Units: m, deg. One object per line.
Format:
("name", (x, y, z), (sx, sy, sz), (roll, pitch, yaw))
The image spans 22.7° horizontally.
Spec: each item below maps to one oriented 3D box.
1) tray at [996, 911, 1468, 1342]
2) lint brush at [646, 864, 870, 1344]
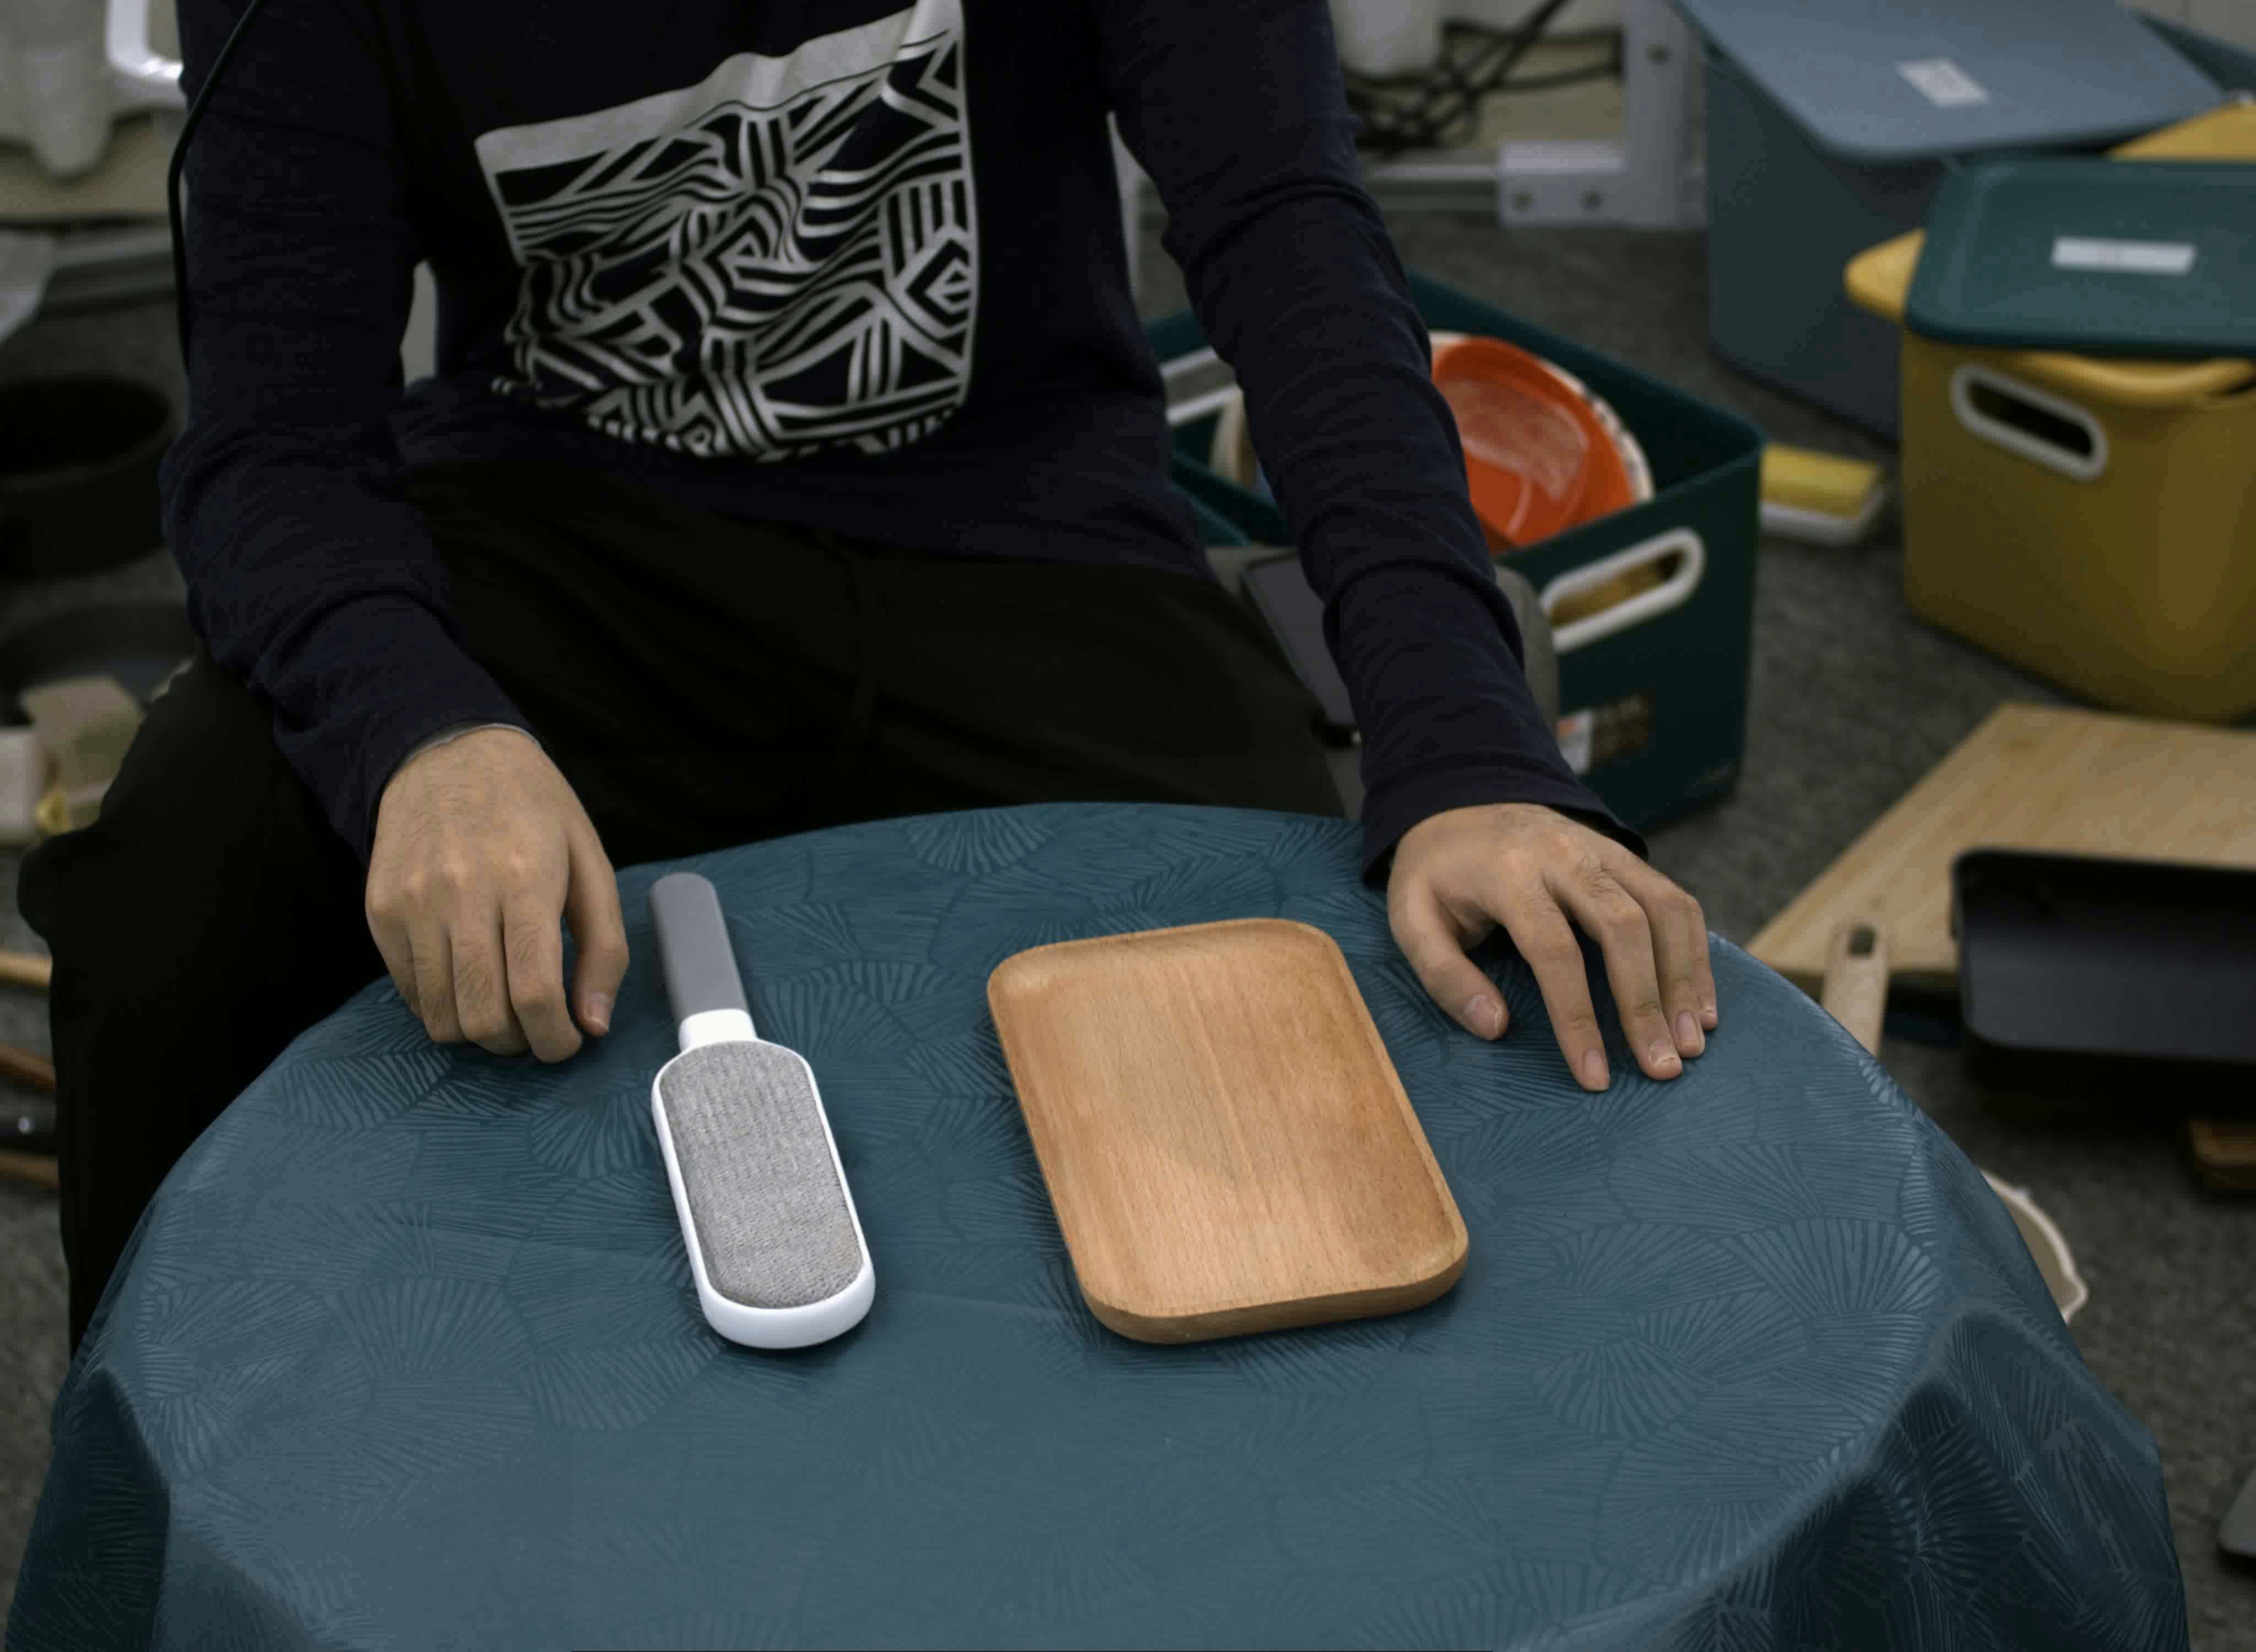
("tray", (0.031, 0.098, 1.886), (0.130, 0.022, 0.254), (-4, 27, -7))
("lint brush", (-0.133, 0.089, 1.908), (0.060, 0.021, 0.312), (-12, 28, -6))
